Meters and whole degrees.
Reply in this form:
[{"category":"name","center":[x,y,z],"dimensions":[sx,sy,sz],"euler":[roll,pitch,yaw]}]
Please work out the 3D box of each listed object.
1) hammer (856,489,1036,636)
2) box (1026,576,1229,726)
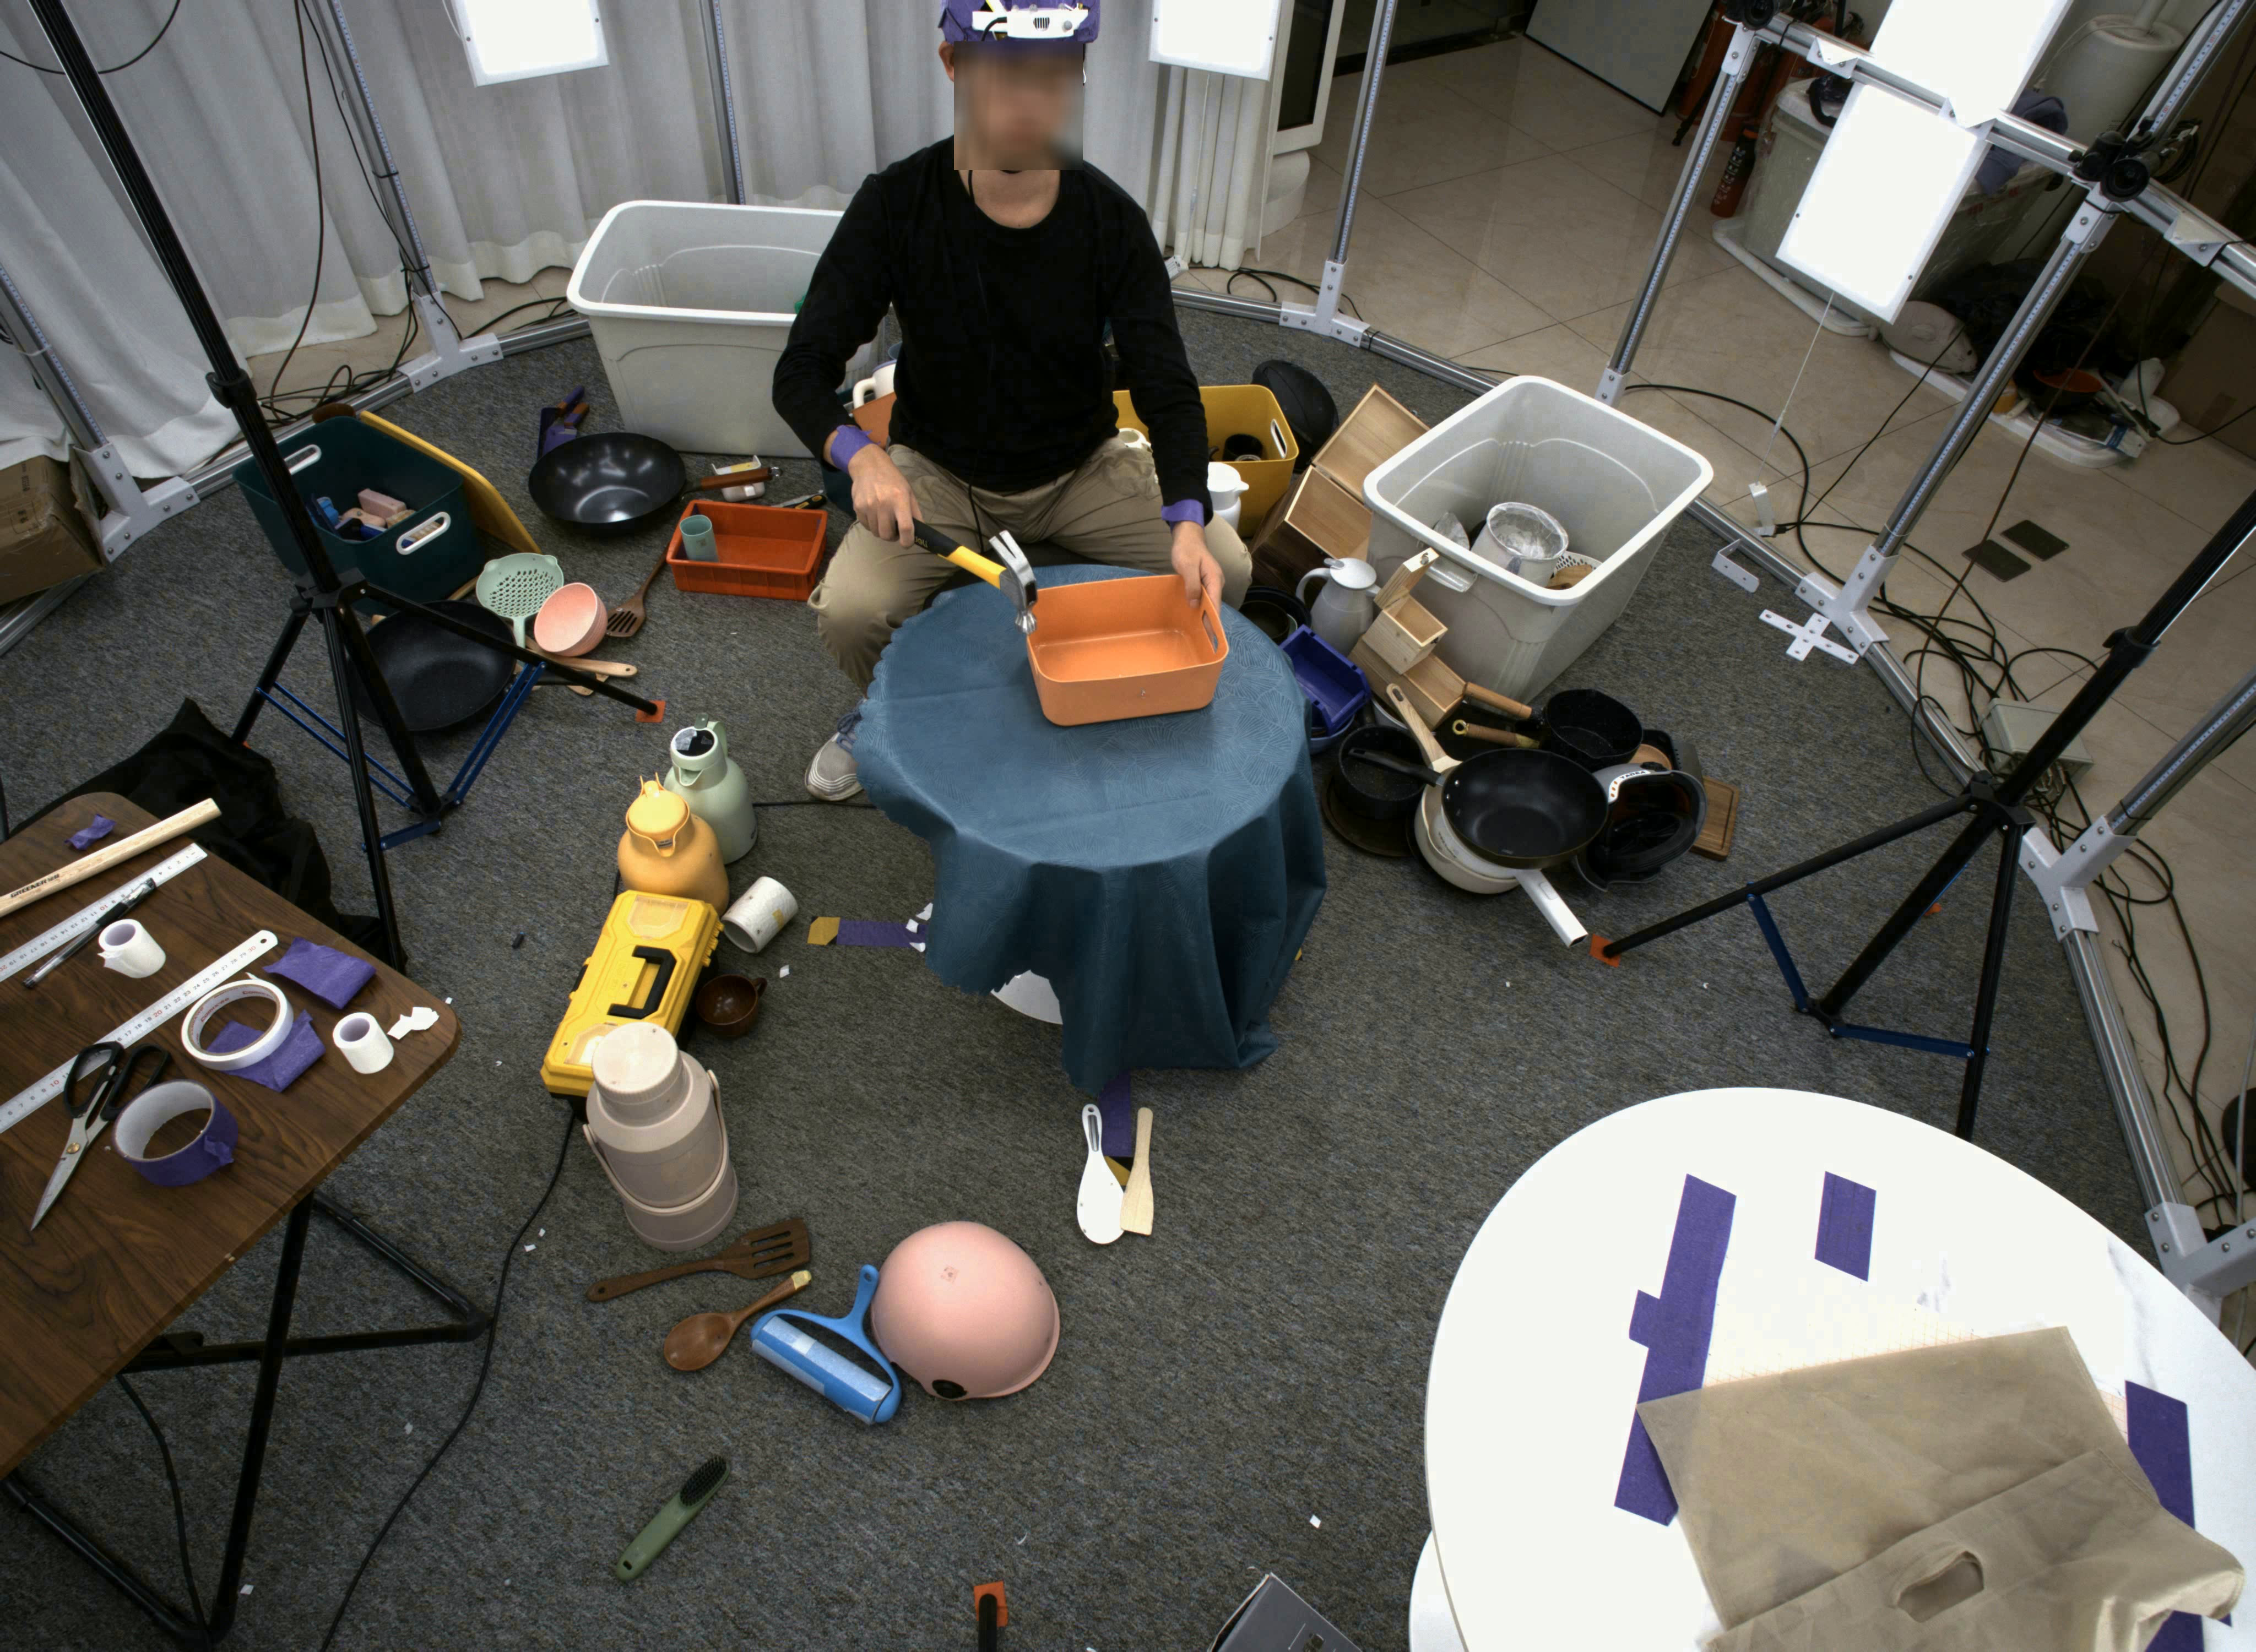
[{"category":"hammer","center":[-0.251,-0.382,1.757],"dimensions":[0.343,0.128,0.032],"euler":[33,54,30]},{"category":"box","center":[-0.009,-0.246,1.816],"dimensions":[0.273,0.100,0.204],"euler":[-8,50,-11]}]
